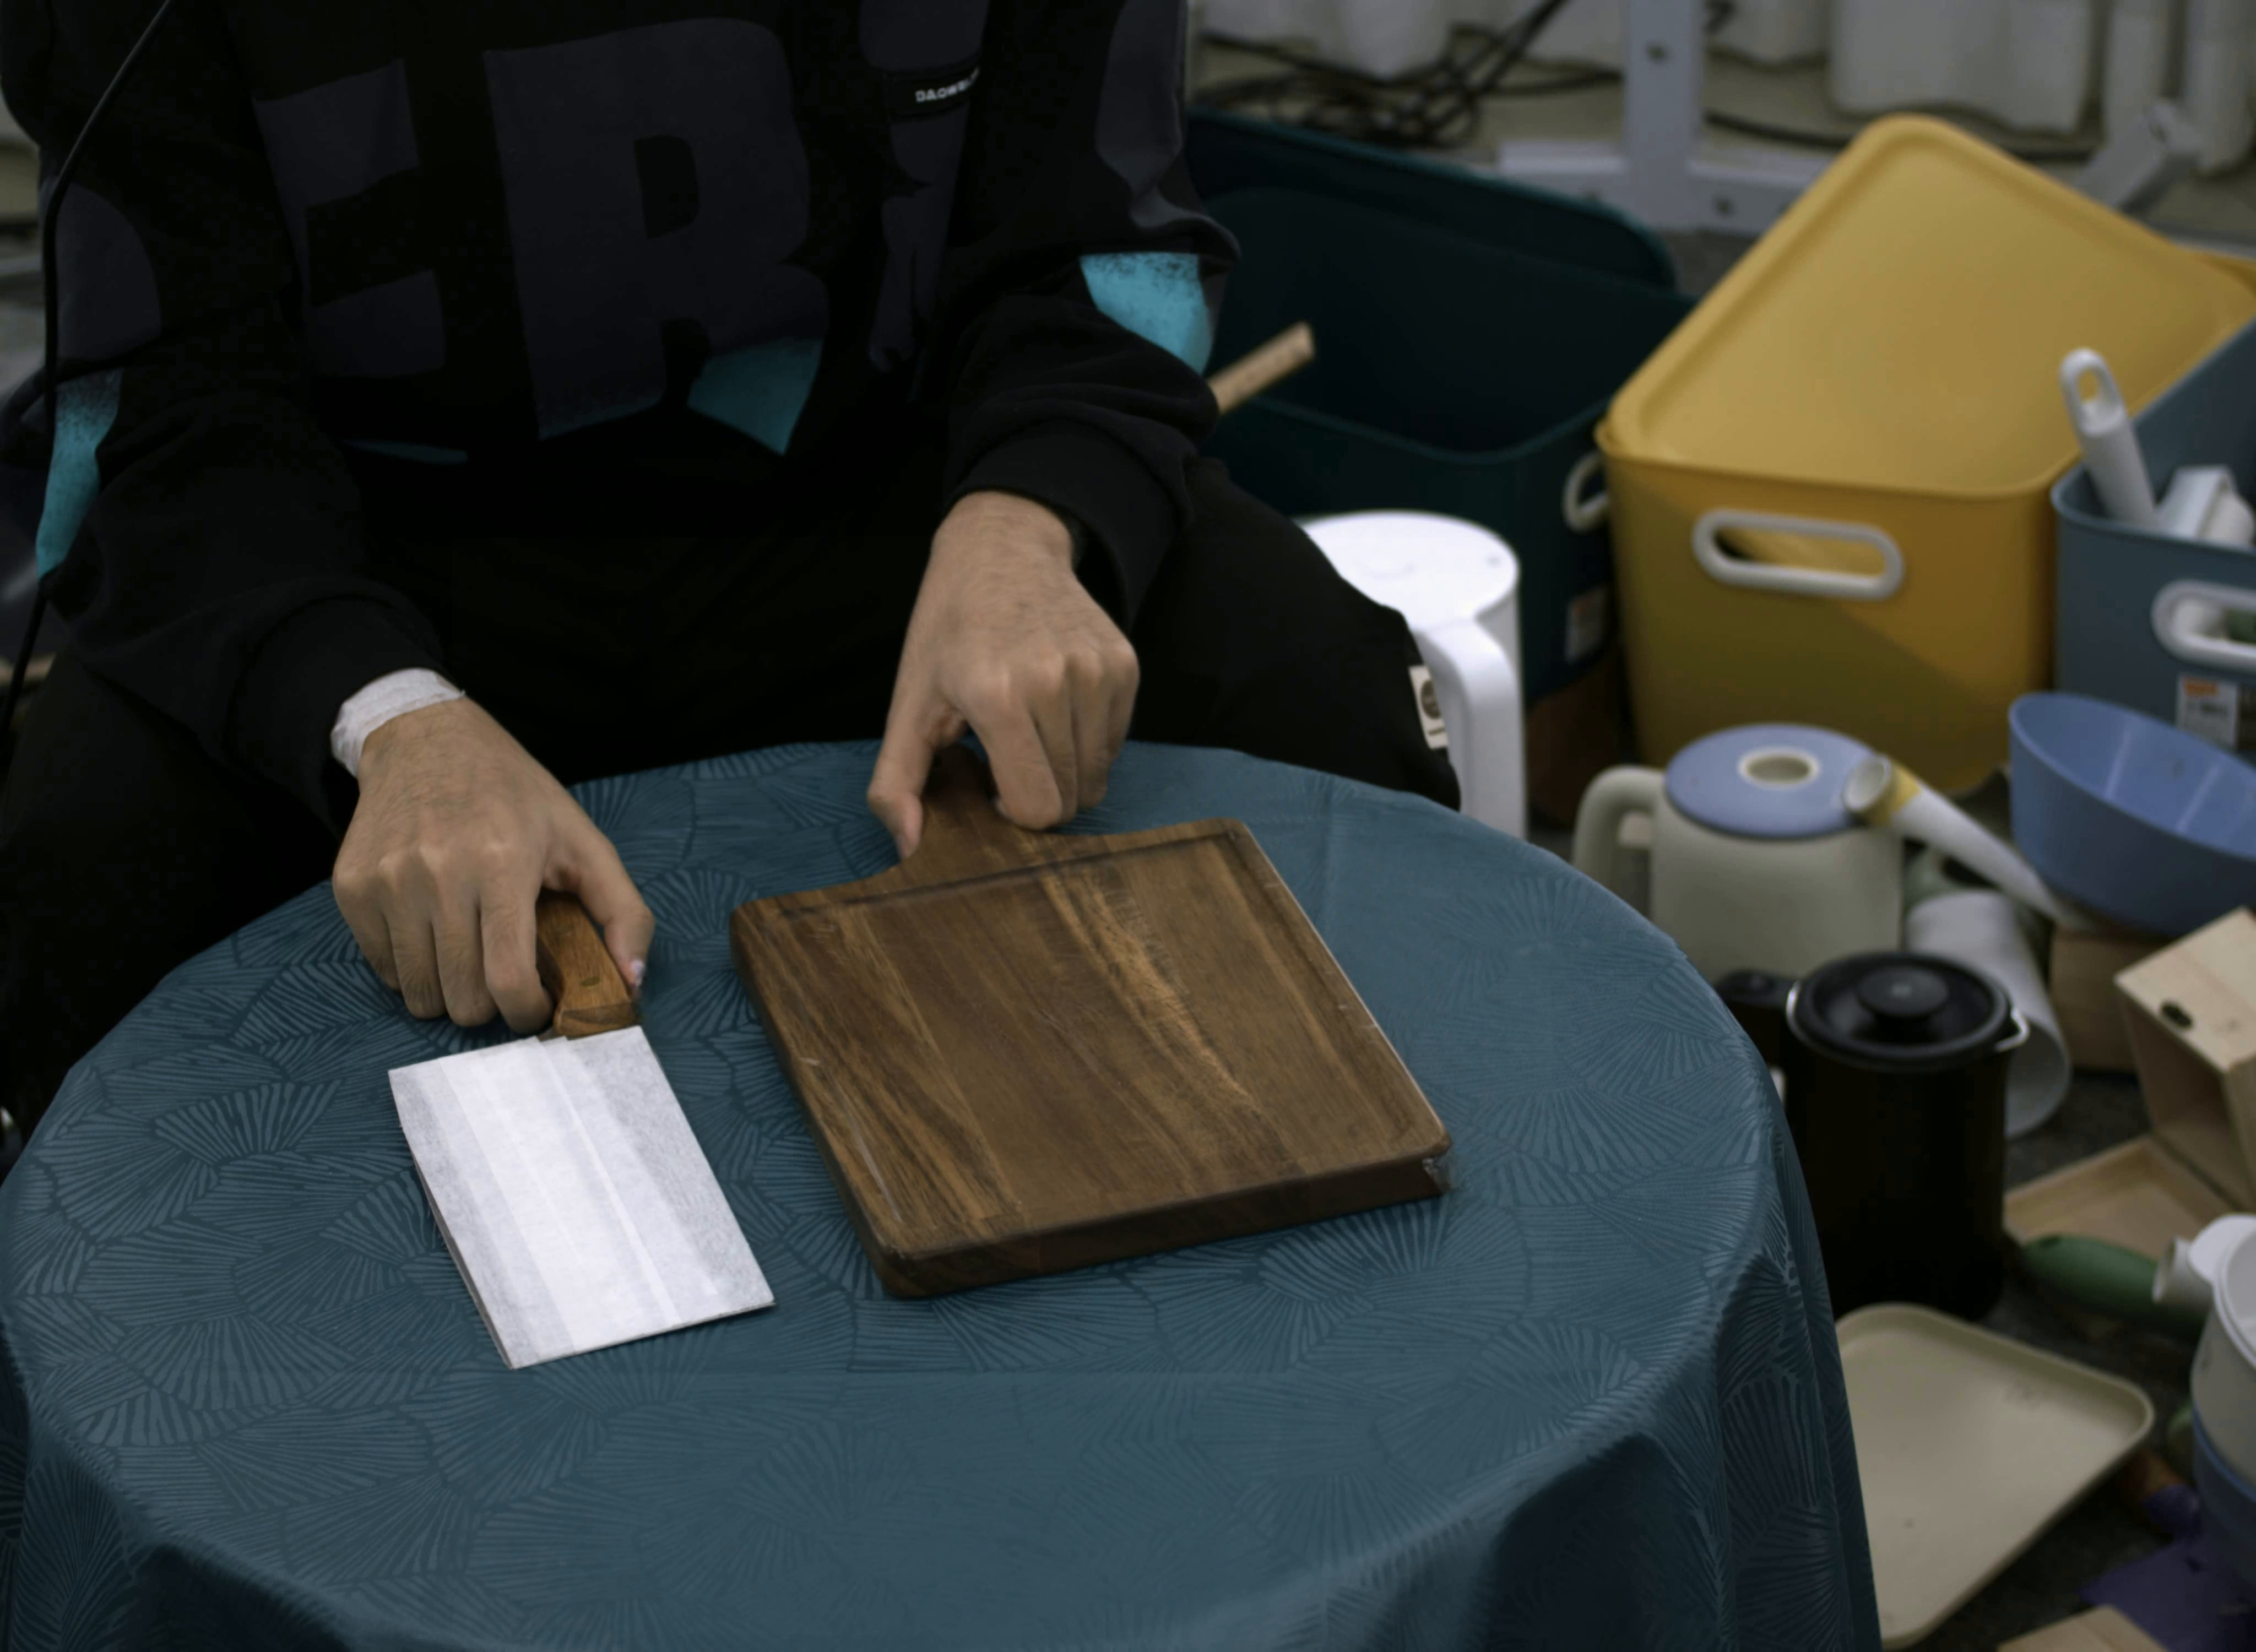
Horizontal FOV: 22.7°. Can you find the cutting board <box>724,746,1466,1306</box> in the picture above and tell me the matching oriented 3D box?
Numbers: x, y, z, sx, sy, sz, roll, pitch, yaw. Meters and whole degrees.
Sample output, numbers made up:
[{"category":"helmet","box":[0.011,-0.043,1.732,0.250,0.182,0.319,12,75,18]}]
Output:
[{"category":"cutting board","box":[-0.030,0.055,1.972,0.201,0.023,0.355,-10,28,-13]}]

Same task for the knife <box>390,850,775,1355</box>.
[{"category":"knife","box":[-0.201,0.093,1.920,0.093,0.021,0.309,-13,31,-14]}]
